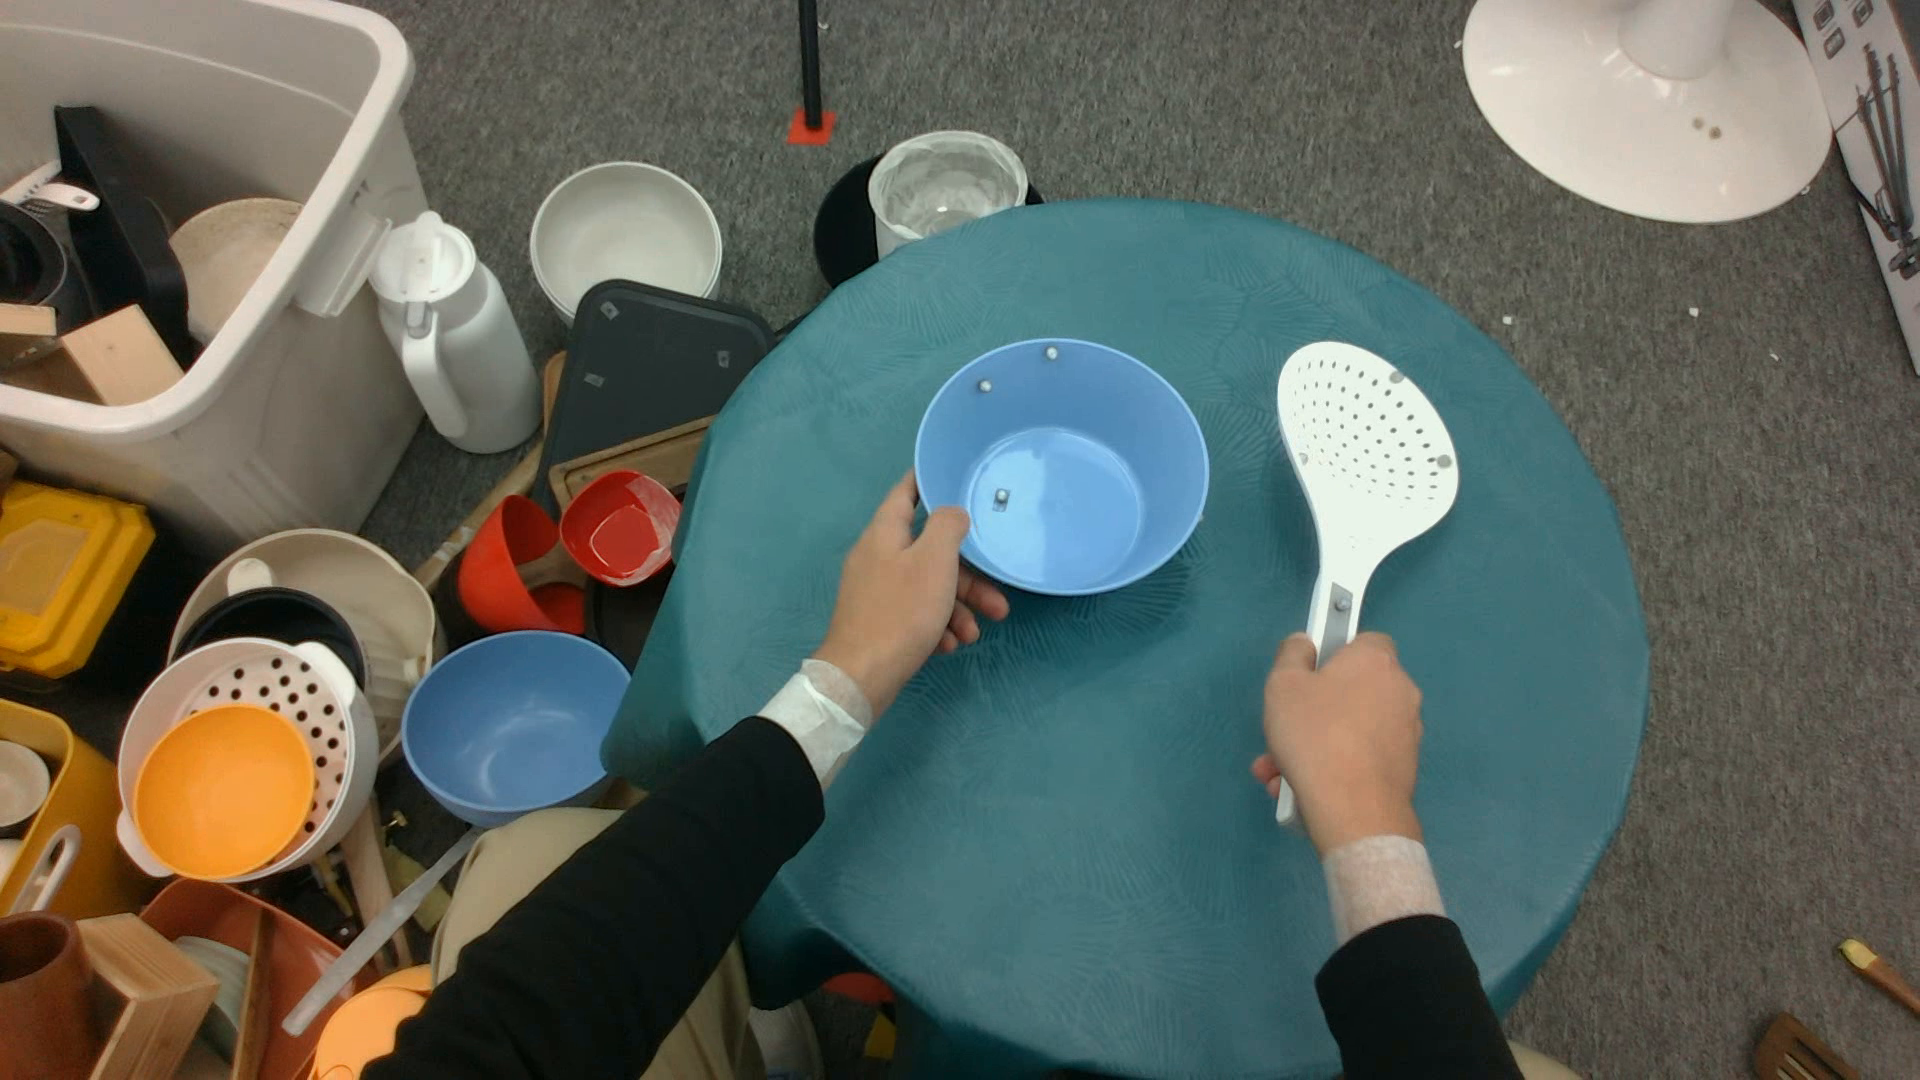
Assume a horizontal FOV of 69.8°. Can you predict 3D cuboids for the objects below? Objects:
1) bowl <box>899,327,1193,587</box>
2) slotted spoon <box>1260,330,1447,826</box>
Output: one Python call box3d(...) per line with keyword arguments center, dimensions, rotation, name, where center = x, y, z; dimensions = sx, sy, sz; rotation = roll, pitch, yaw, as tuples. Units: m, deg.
box3d(center=(0.050, -0.040, 0.843), dimensions=(0.176, 0.070, 0.176), rotation=(1, 64, -3), name="bowl")
box3d(center=(0.217, 0.010, 0.809), dimensions=(0.136, 0.045, 0.351), rotation=(27, 49, -9), name="slotted spoon")
